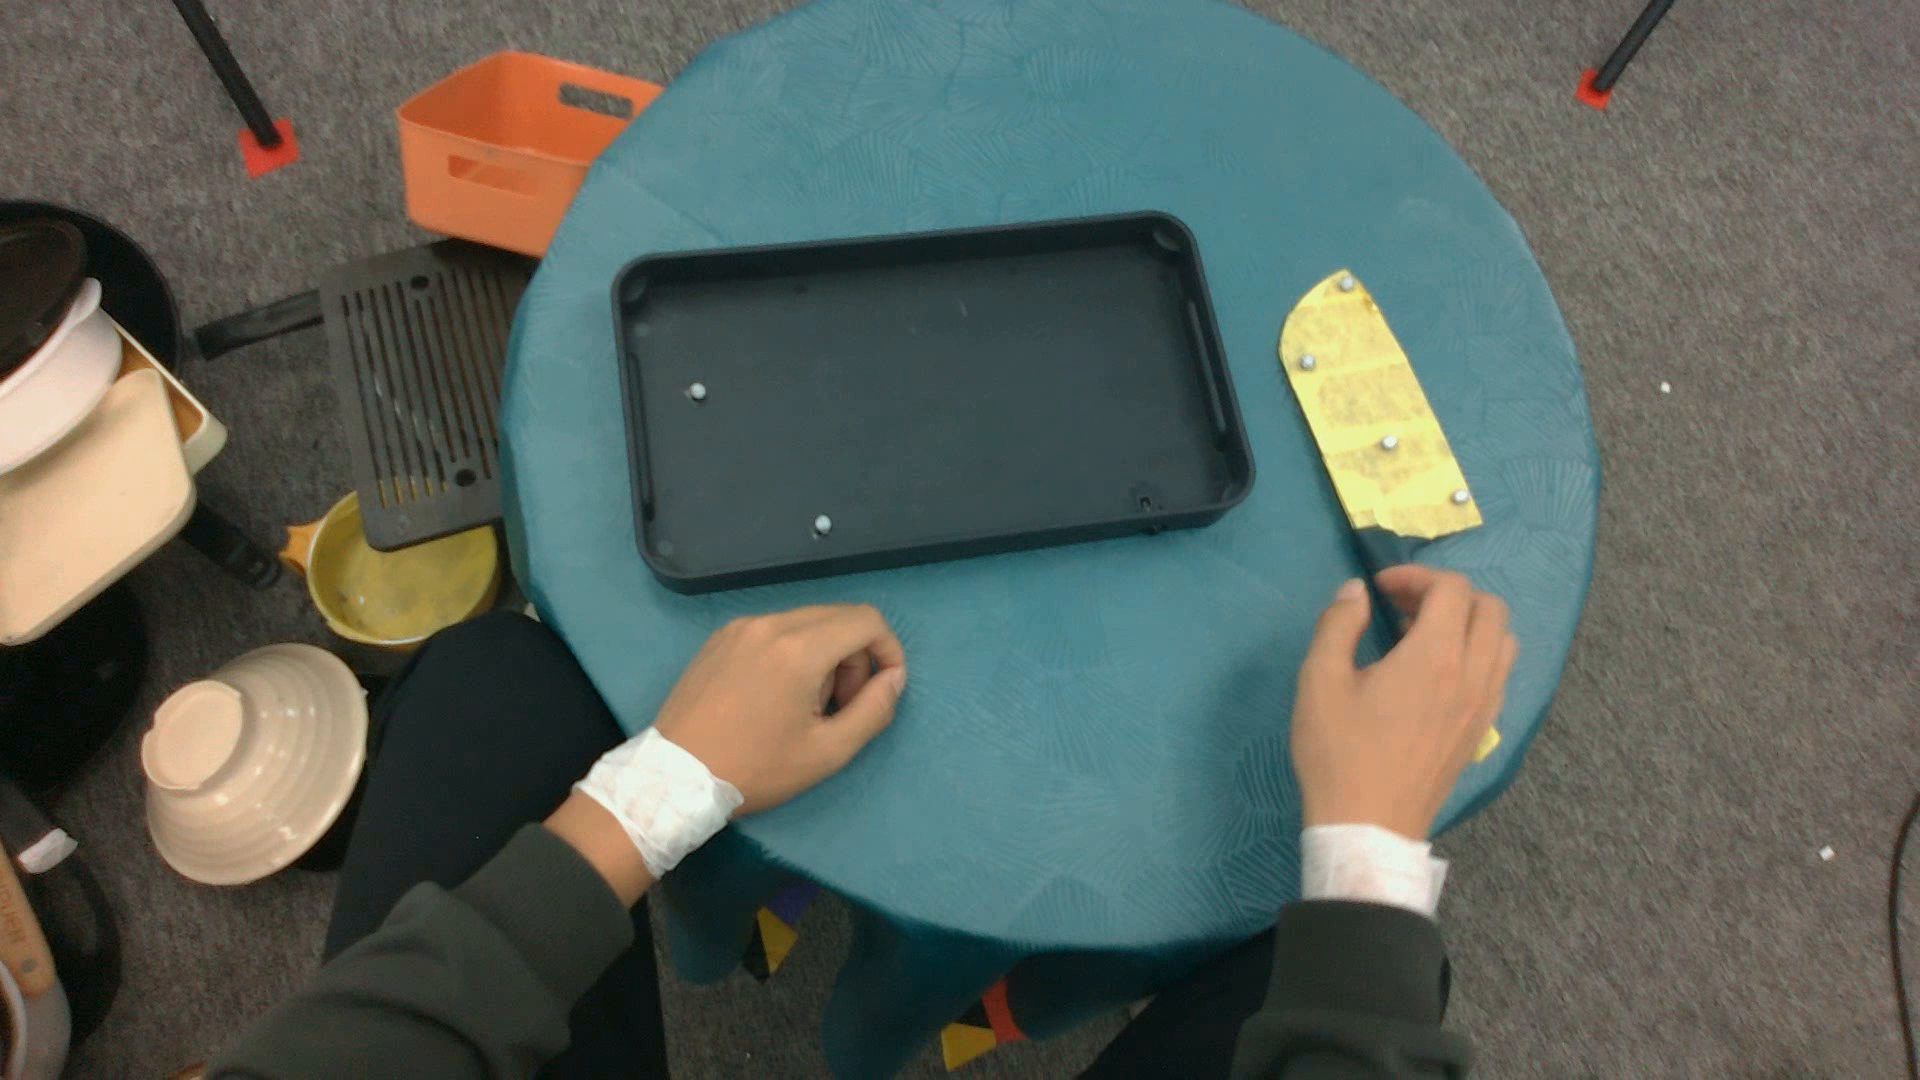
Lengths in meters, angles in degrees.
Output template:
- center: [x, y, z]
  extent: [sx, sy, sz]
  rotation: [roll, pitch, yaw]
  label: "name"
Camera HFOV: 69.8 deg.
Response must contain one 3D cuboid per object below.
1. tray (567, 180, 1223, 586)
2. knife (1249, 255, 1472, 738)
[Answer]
- center: [-0.033, -0.087, 0.725]
  extent: [0.318, 0.037, 0.184]
  rotation: [-9, 72, -12]
  label: "tray"
- center: [0.227, -0.034, 0.754]
  extent: [0.081, 0.027, 0.290]
  rotation: [-11, 71, -10]
  label: "knife"
